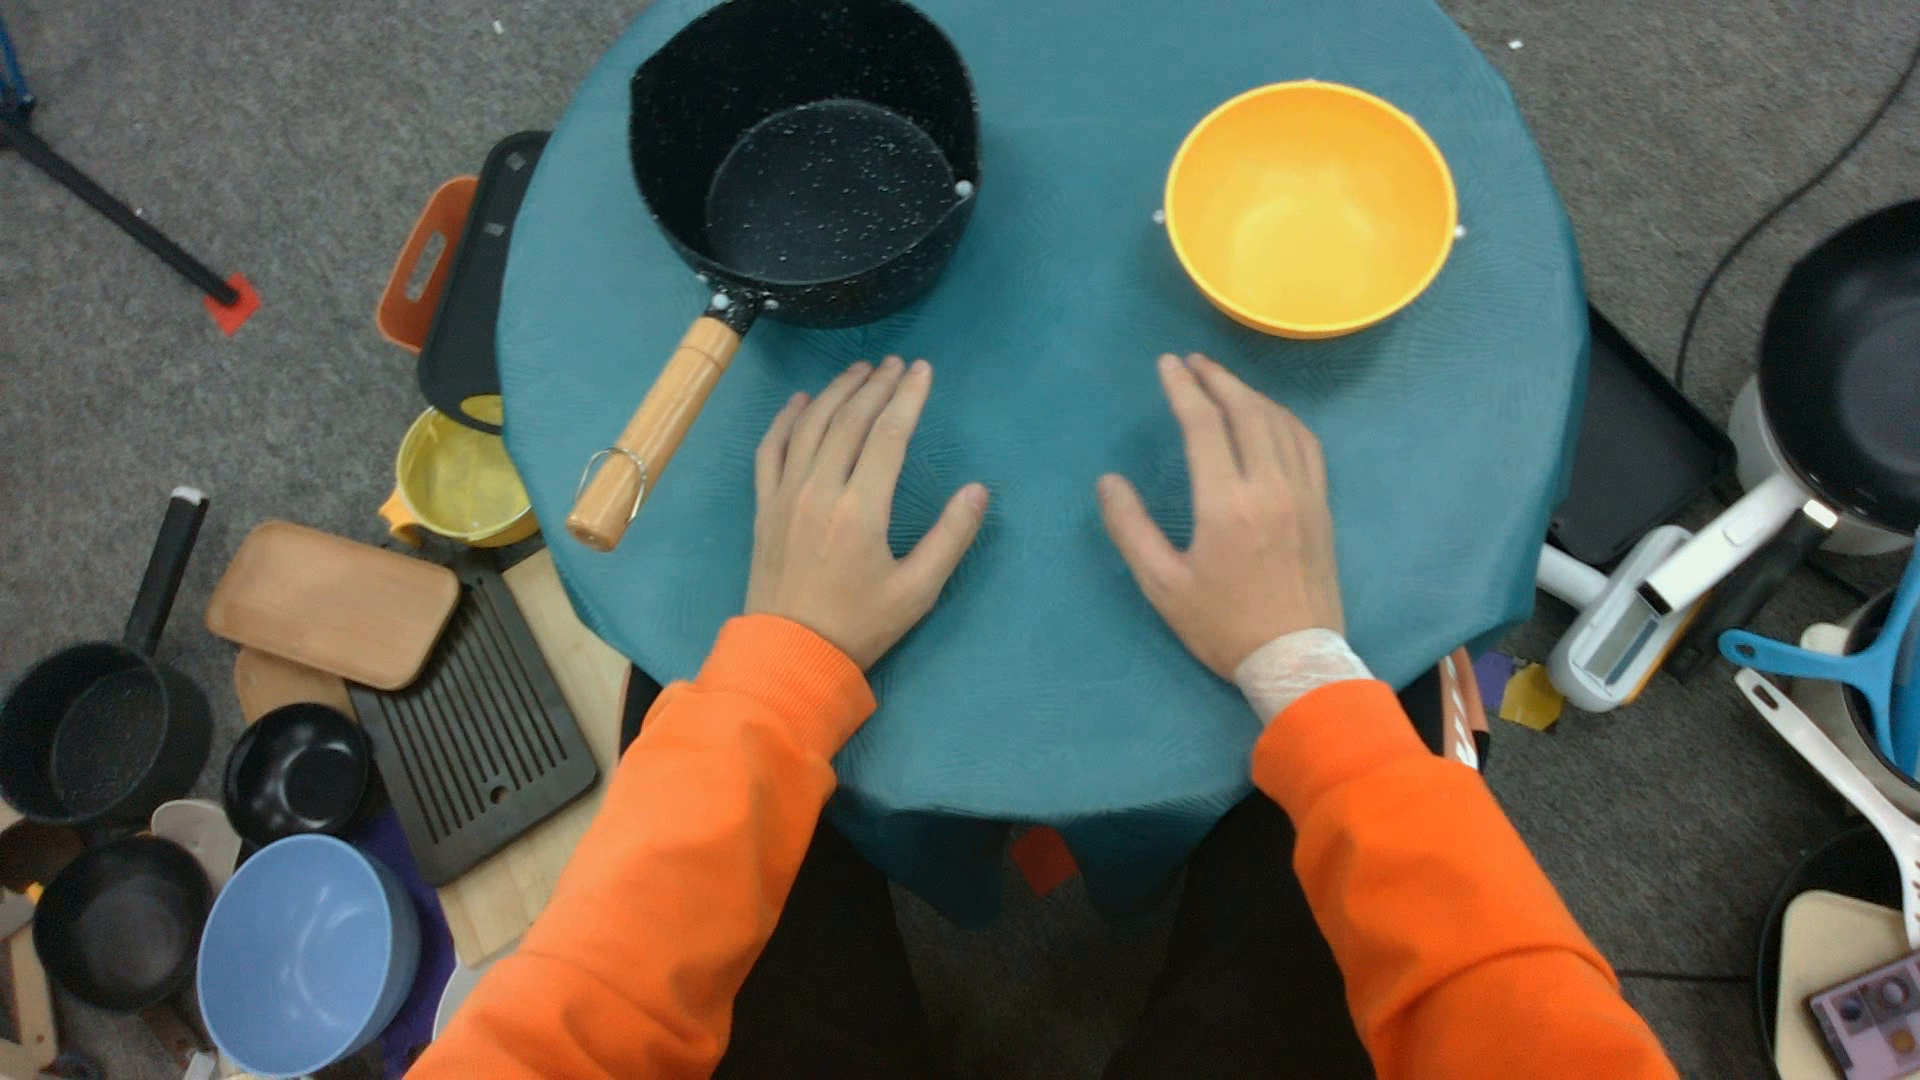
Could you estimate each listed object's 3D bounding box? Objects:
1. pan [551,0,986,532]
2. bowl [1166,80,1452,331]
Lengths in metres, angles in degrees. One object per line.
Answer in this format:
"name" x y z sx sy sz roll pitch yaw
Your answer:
"pan" -0.108 -0.142 0.721 0.207 0.108 0.344 20 73 9
"bowl" 0.181 -0.167 0.734 0.145 0.060 0.145 -2 72 5
